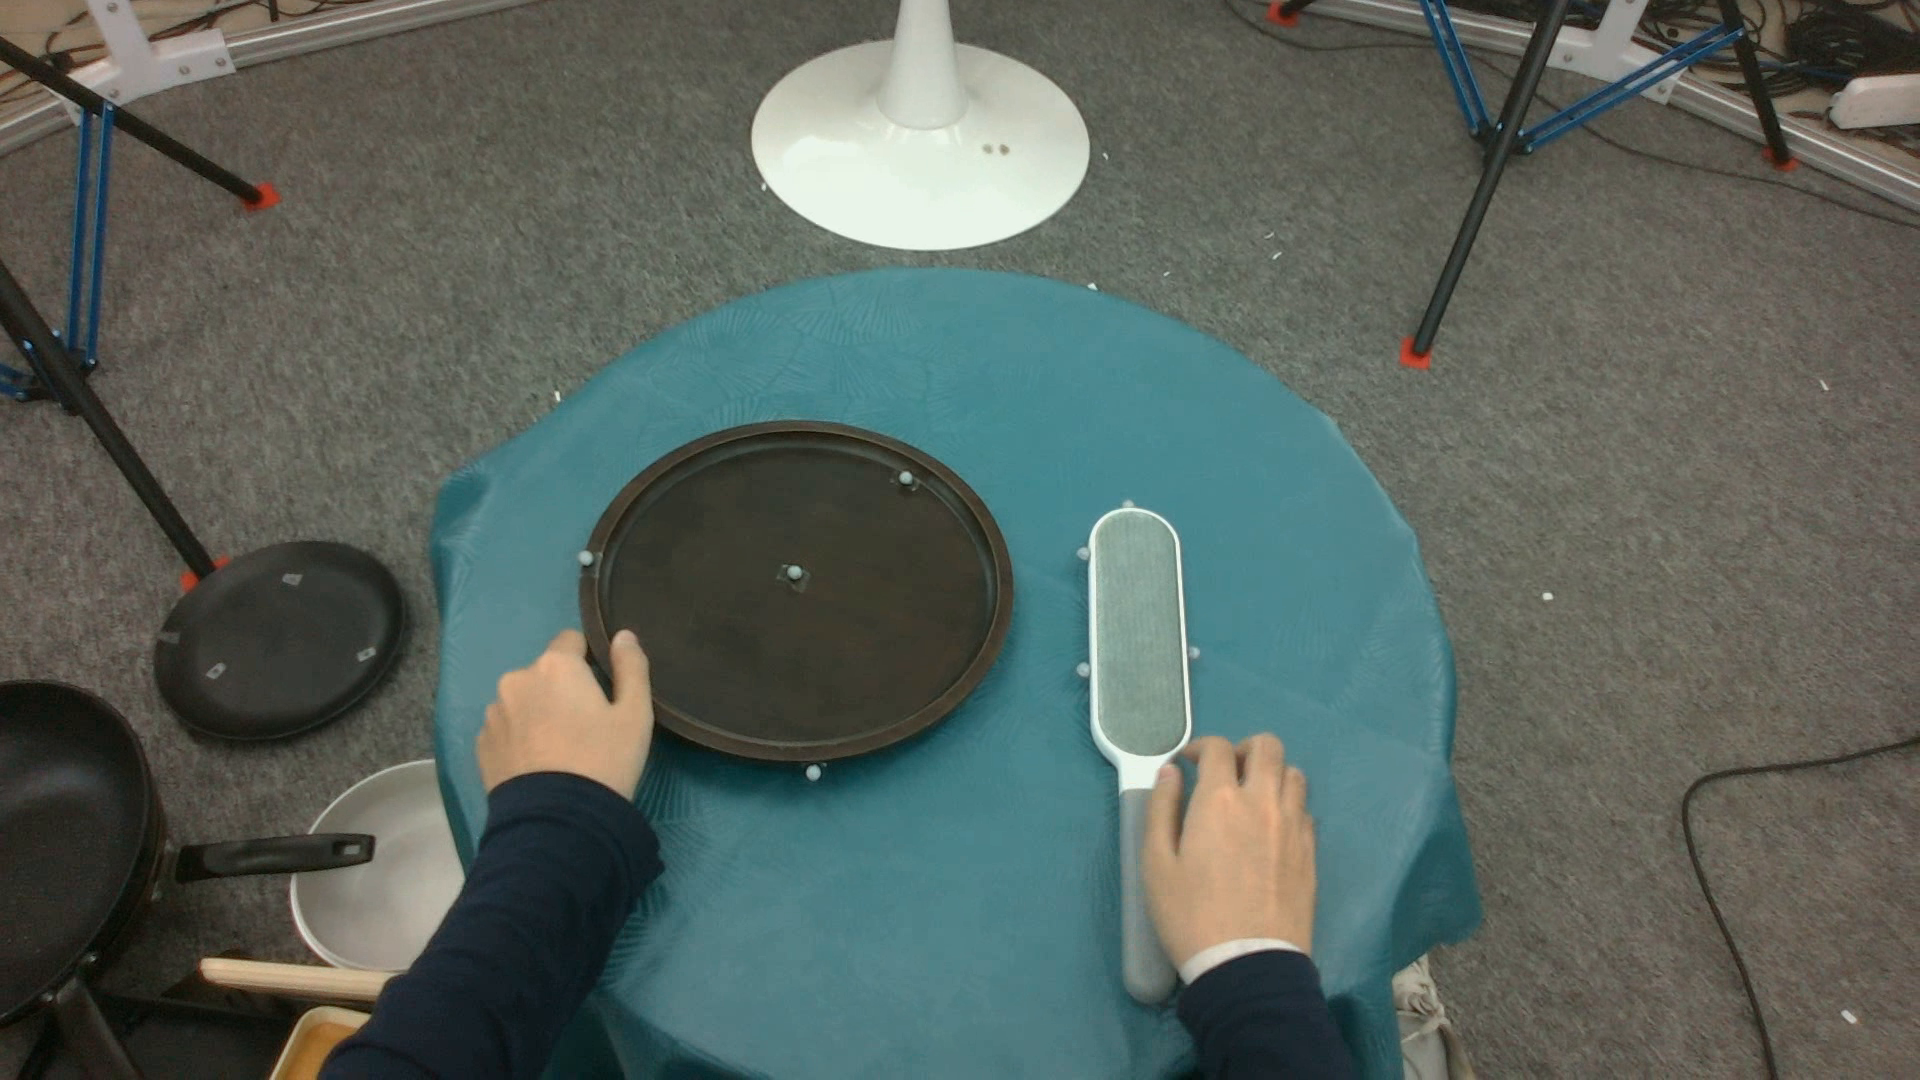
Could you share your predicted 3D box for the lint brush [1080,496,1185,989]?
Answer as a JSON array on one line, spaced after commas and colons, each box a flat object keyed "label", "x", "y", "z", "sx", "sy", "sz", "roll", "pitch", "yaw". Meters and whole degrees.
[{"label": "lint brush", "x": 0.096, "y": 0.097, "z": 0.772, "sx": 0.060, "sy": 0.021, "sz": 0.310, "roll": 7, "pitch": 52, "yaw": -5}]

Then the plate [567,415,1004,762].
[{"label": "plate", "x": -0.100, "y": 0.021, "z": 0.811, "sx": 0.255, "sy": 0.029, "sz": 0.256, "roll": 2, "pitch": 50, "yaw": -3}]
